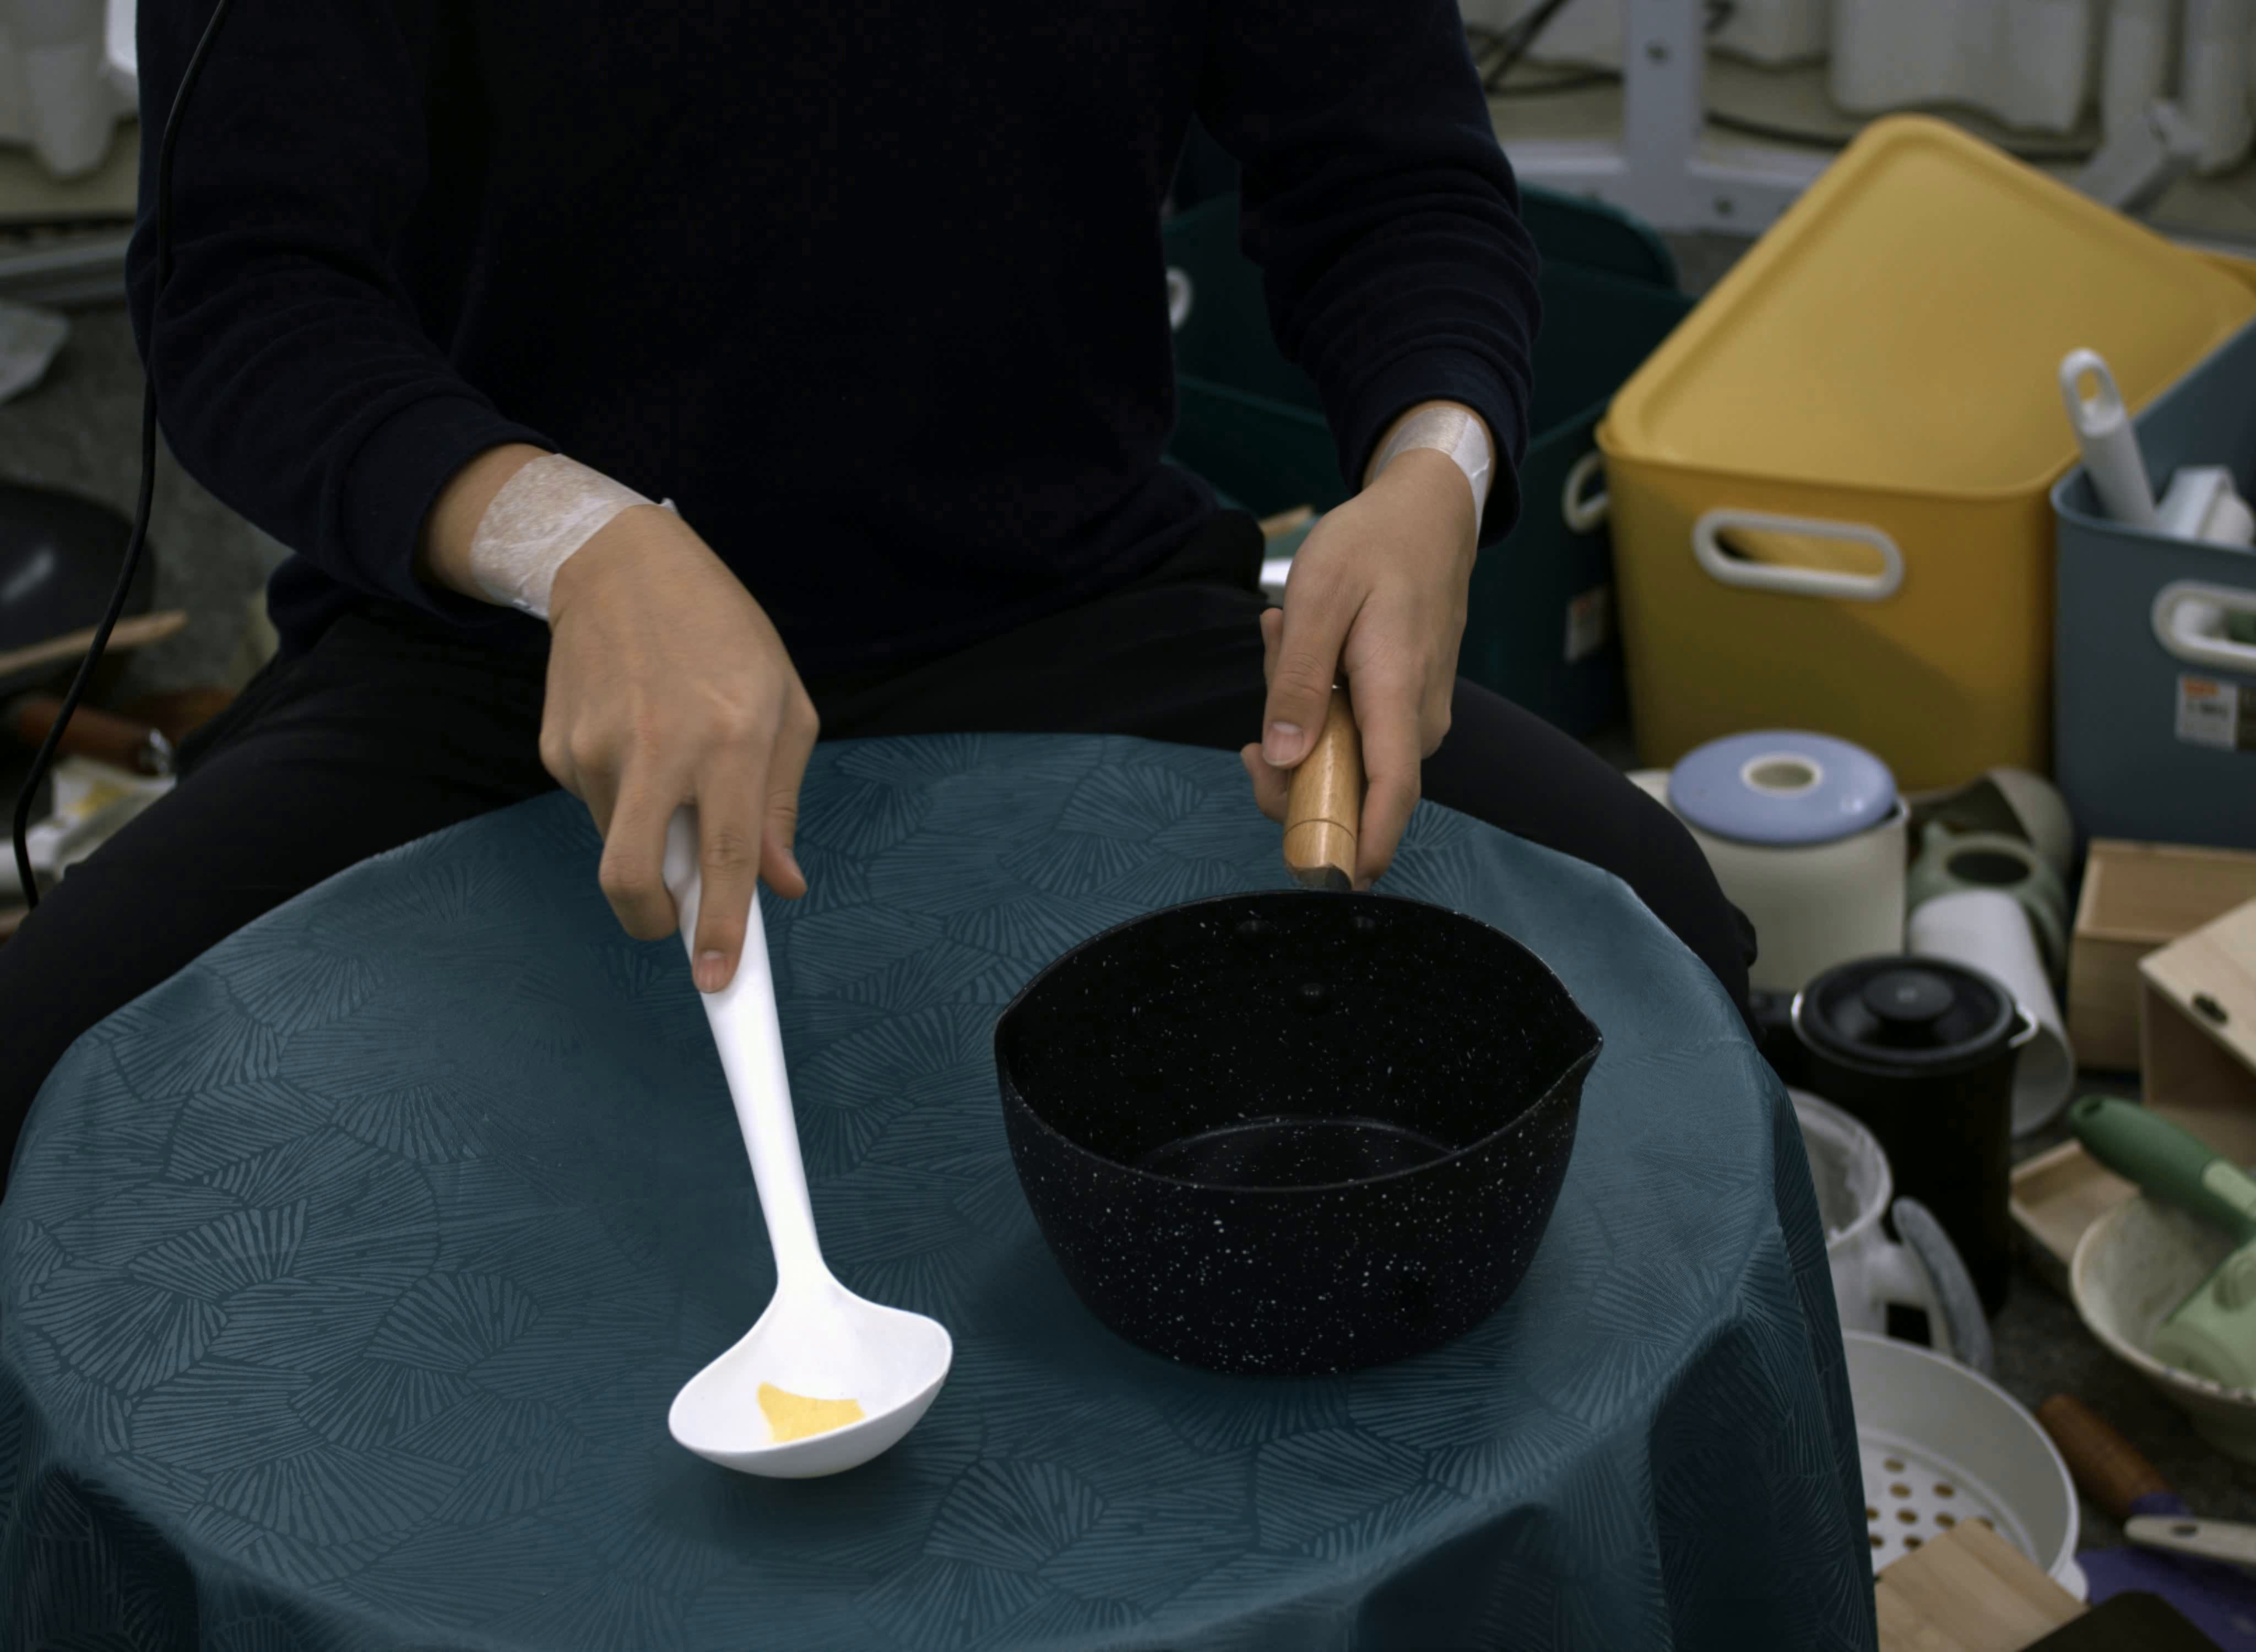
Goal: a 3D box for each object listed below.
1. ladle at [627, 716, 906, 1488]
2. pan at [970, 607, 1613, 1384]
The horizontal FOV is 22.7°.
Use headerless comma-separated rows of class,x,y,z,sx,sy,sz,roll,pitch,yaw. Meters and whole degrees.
ladle,-0.129,0.082,1.779,0.089,0.069,0.298,-18,56,8
pan,0.058,0.053,1.869,0.206,0.107,0.348,-1,30,5
